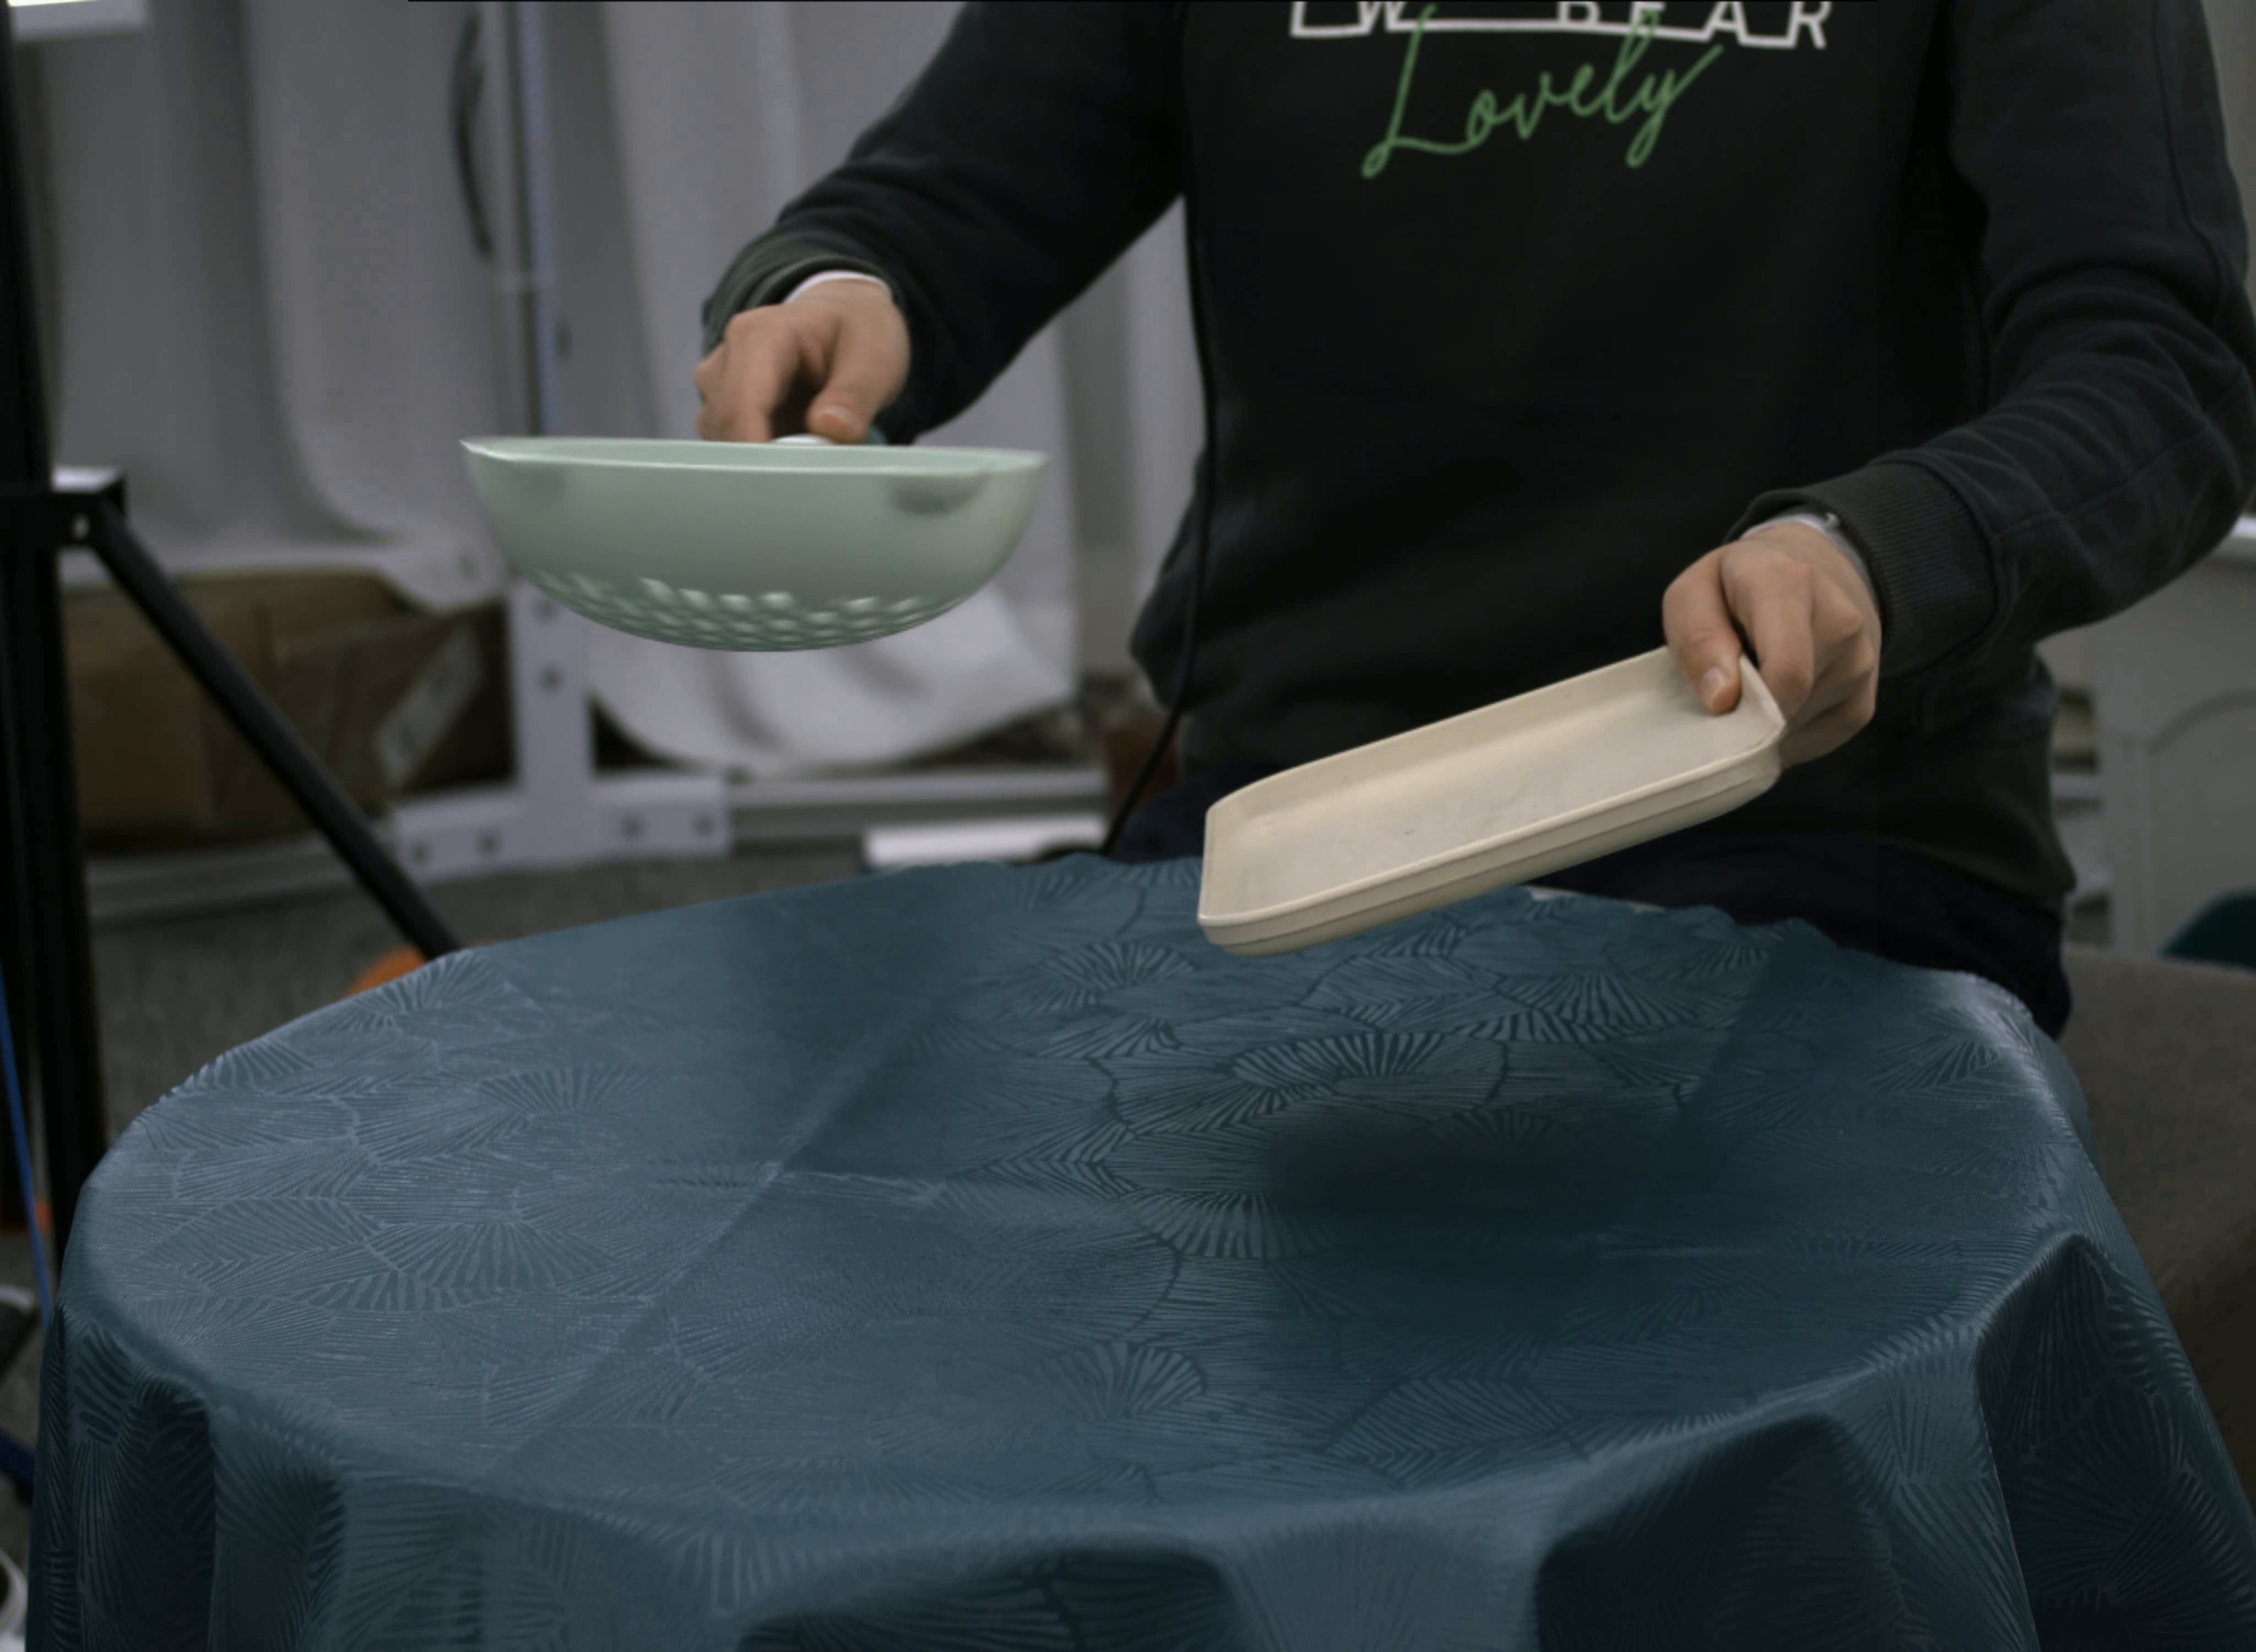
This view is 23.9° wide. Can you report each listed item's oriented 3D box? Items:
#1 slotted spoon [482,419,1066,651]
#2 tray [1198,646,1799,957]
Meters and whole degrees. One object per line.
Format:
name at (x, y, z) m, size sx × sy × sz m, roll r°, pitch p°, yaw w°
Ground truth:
slotted spoon at (-0.097, -0.106, 1.639) m, size 0.169 × 0.075 × 0.359 m, roll 0°, pitch 14°, yaw 3°
tray at (0.103, -0.007, 1.518) m, size 0.171 × 0.017 × 0.239 m, roll -18°, pitch 7°, yaw 5°
